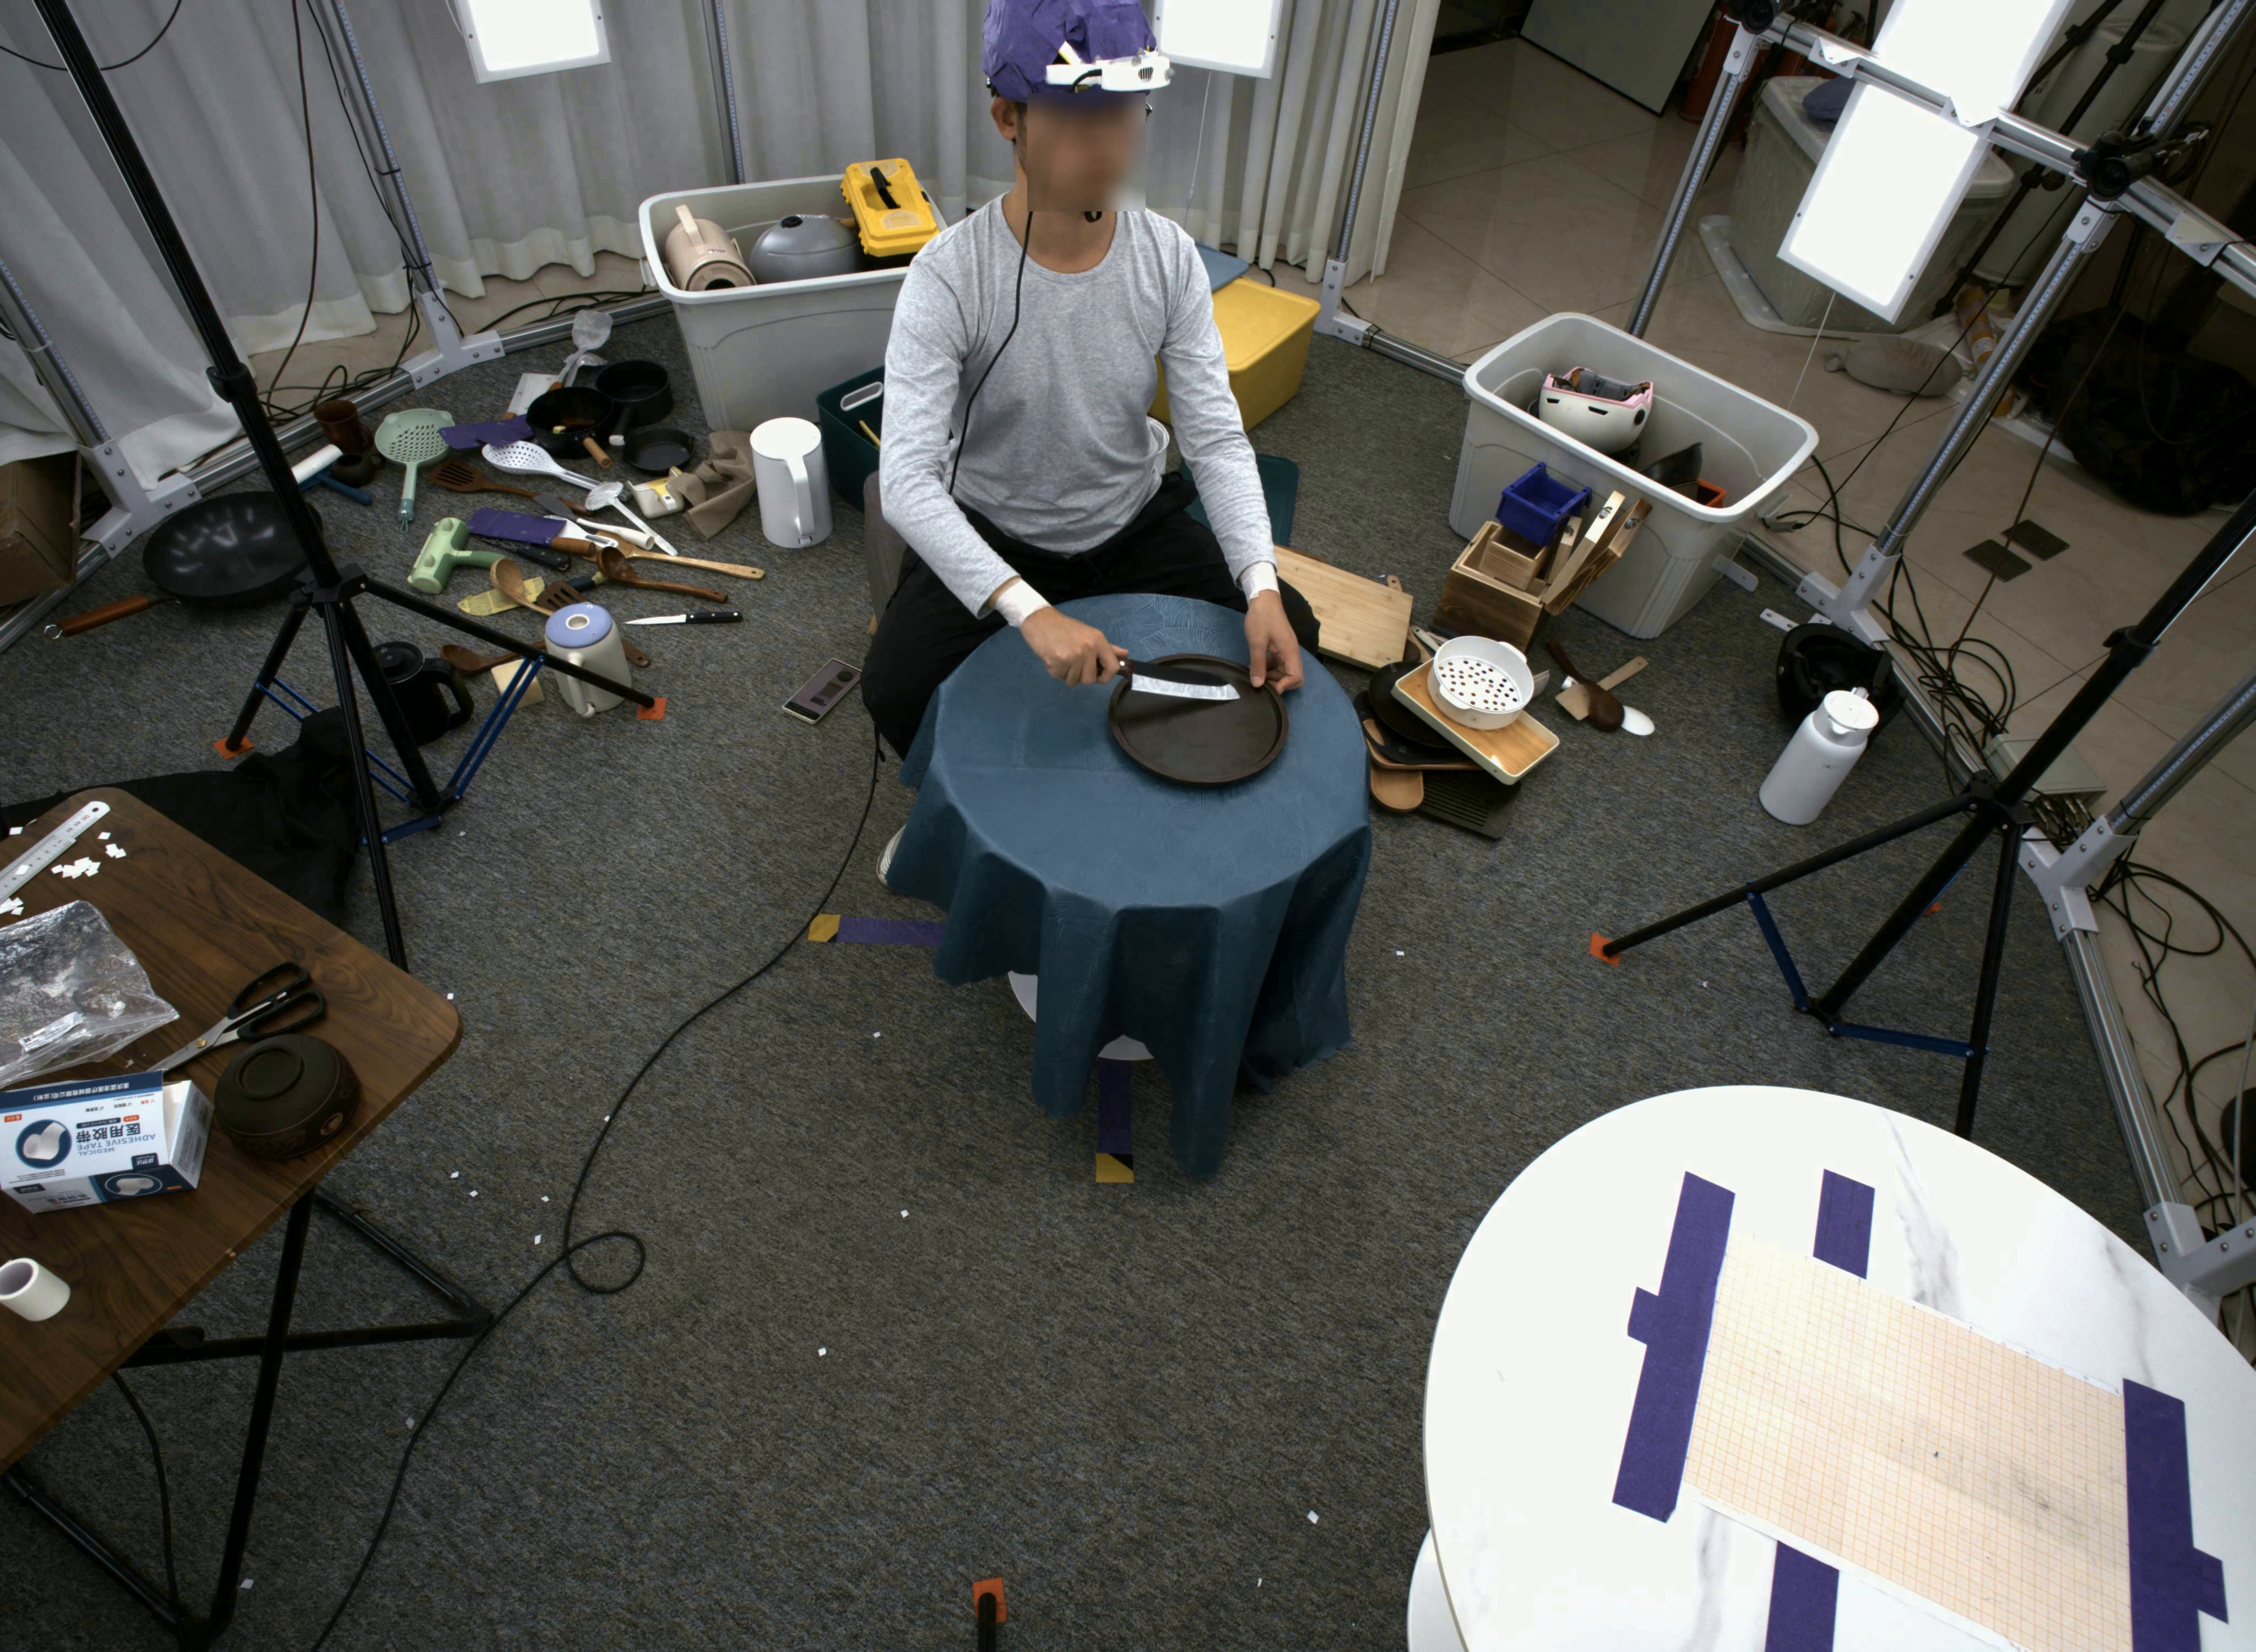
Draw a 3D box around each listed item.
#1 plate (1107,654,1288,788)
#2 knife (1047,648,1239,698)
[{"bbox_3d":[0.097,-0.149,1.787,0.254,0.028,0.261,1,49,-1],"label":"plate"},{"bbox_3d":[0.025,-0.210,1.774,0.287,0.020,0.051,9,72,-20],"label":"knife"}]
